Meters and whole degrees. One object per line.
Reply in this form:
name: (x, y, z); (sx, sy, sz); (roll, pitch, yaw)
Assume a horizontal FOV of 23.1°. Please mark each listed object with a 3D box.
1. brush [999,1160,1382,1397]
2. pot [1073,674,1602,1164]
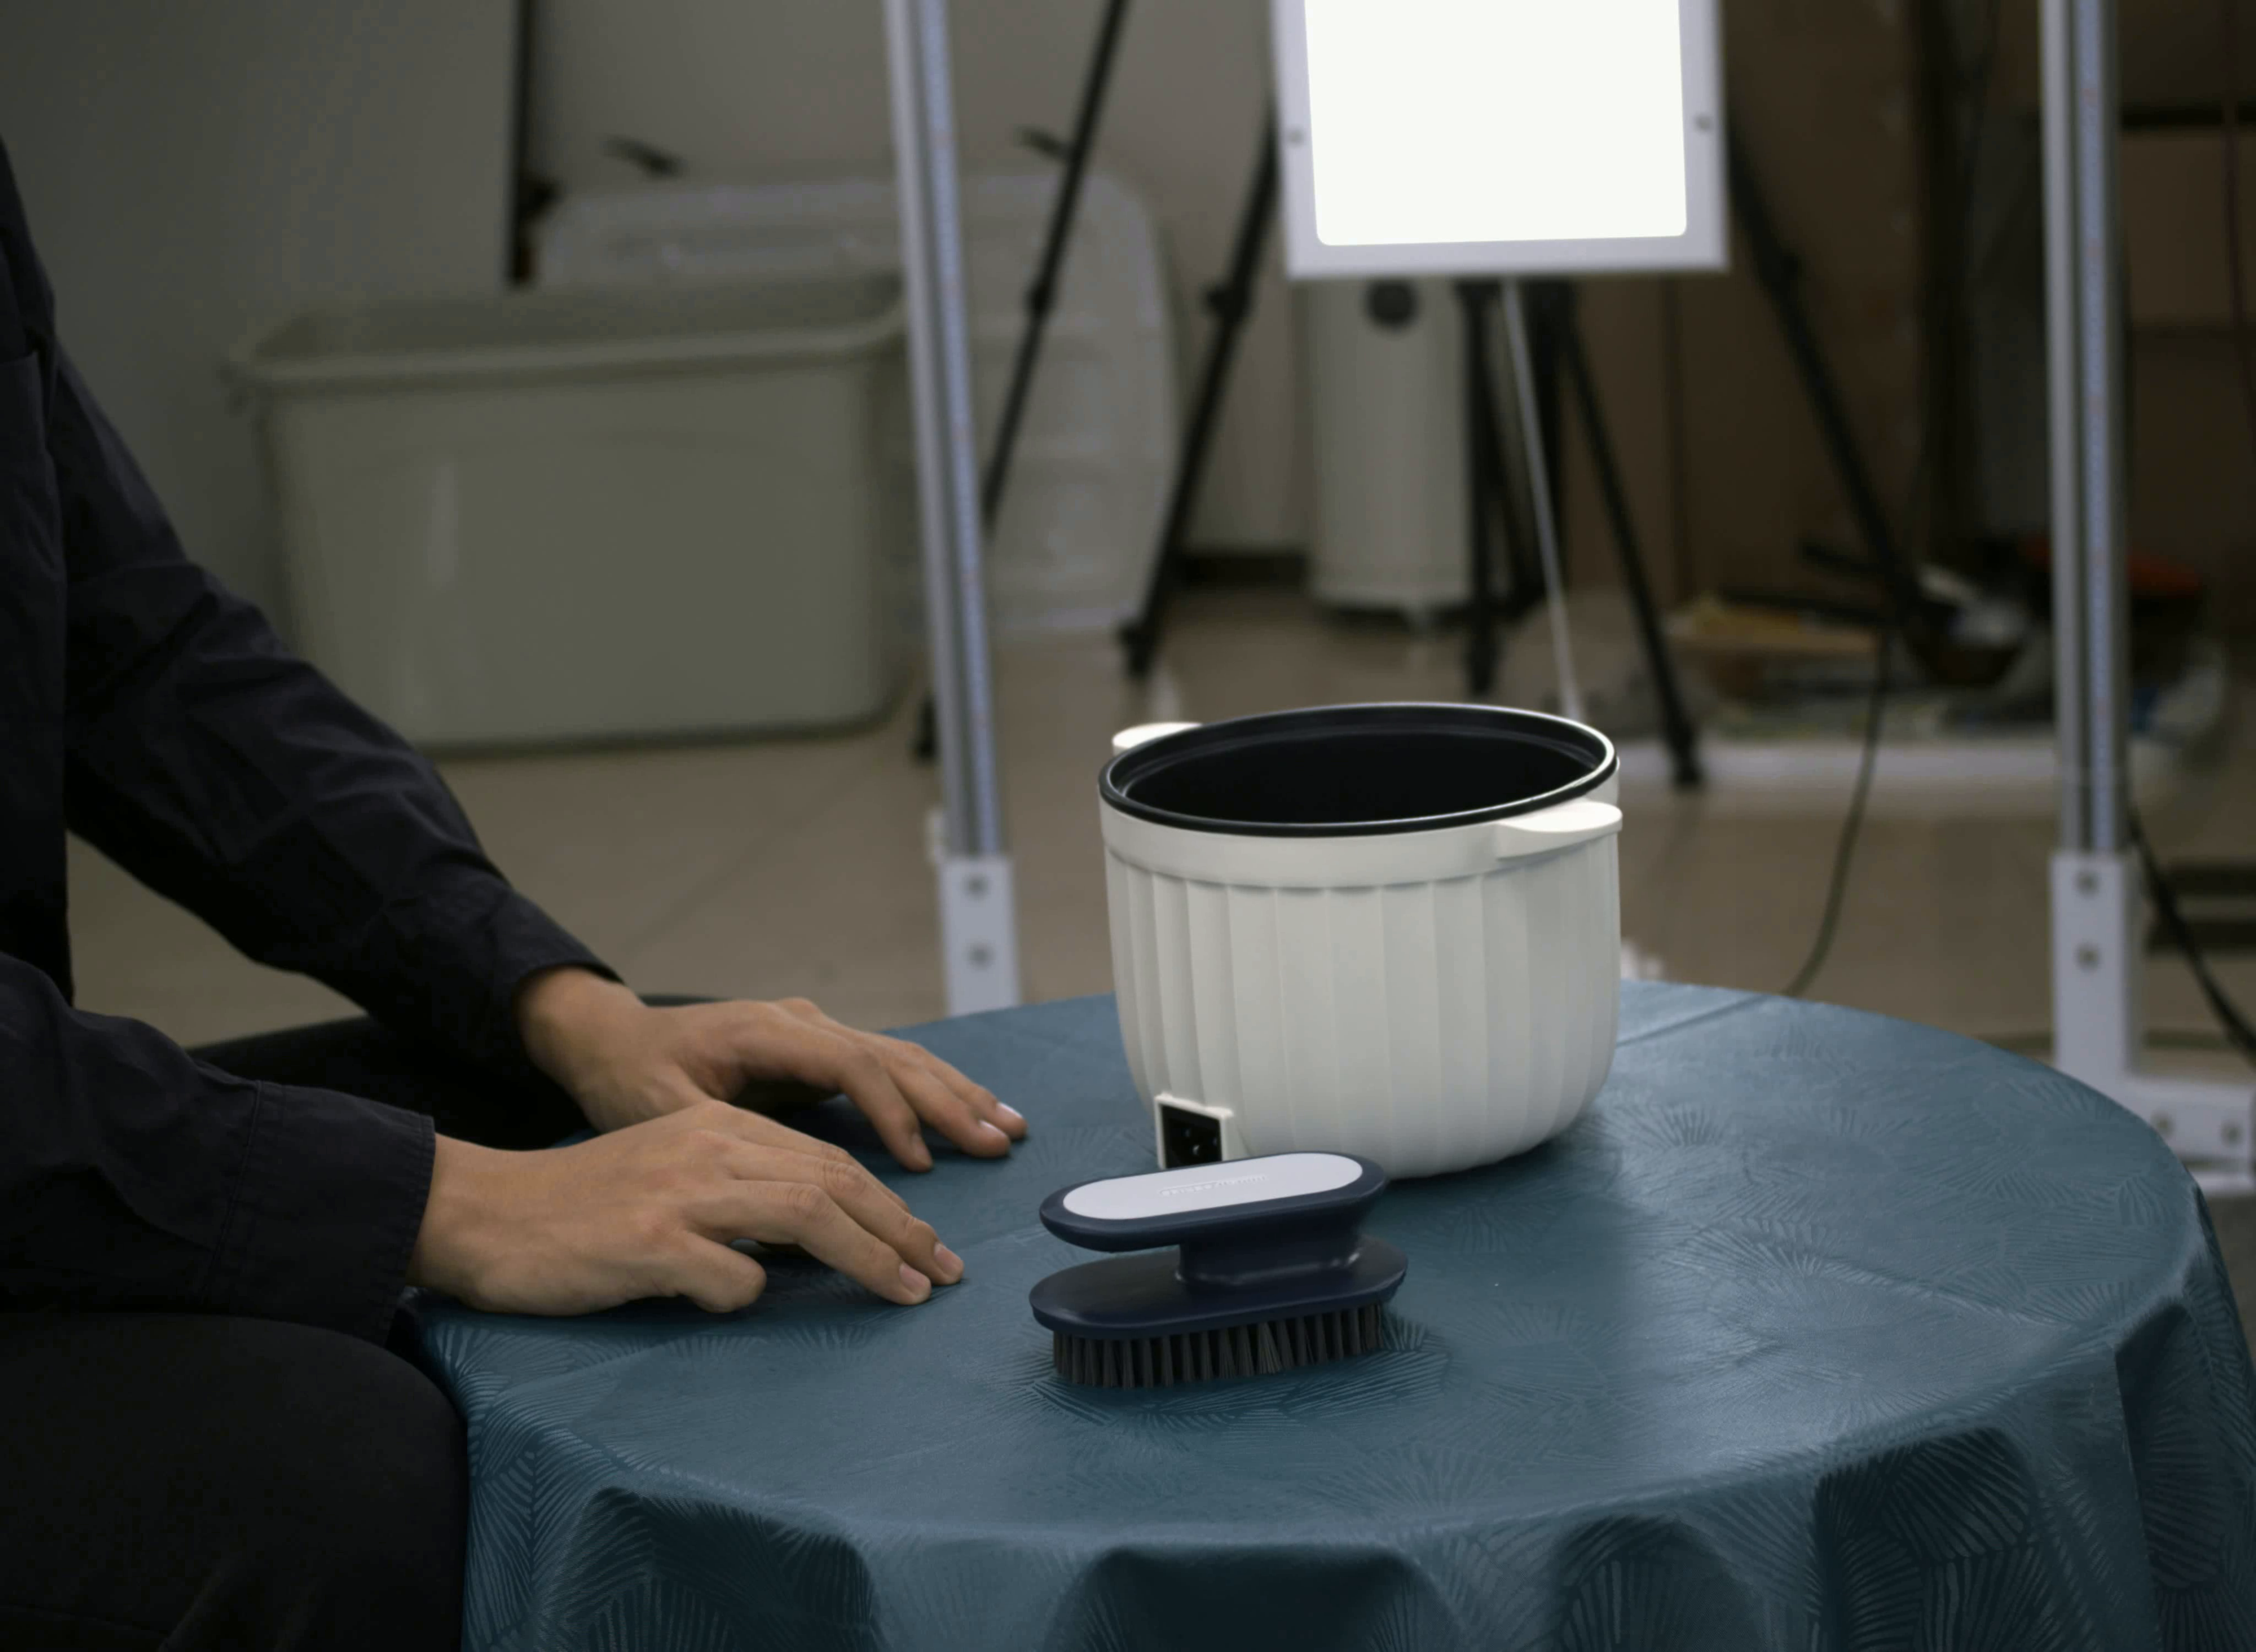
brush: (0.020, 0.143, 1.719); (0.120, 0.061, 0.068); (-3, 16, -7)
pot: (0.080, 0.031, 1.939); (0.186, 0.143, 0.245); (-19, 21, -37)
